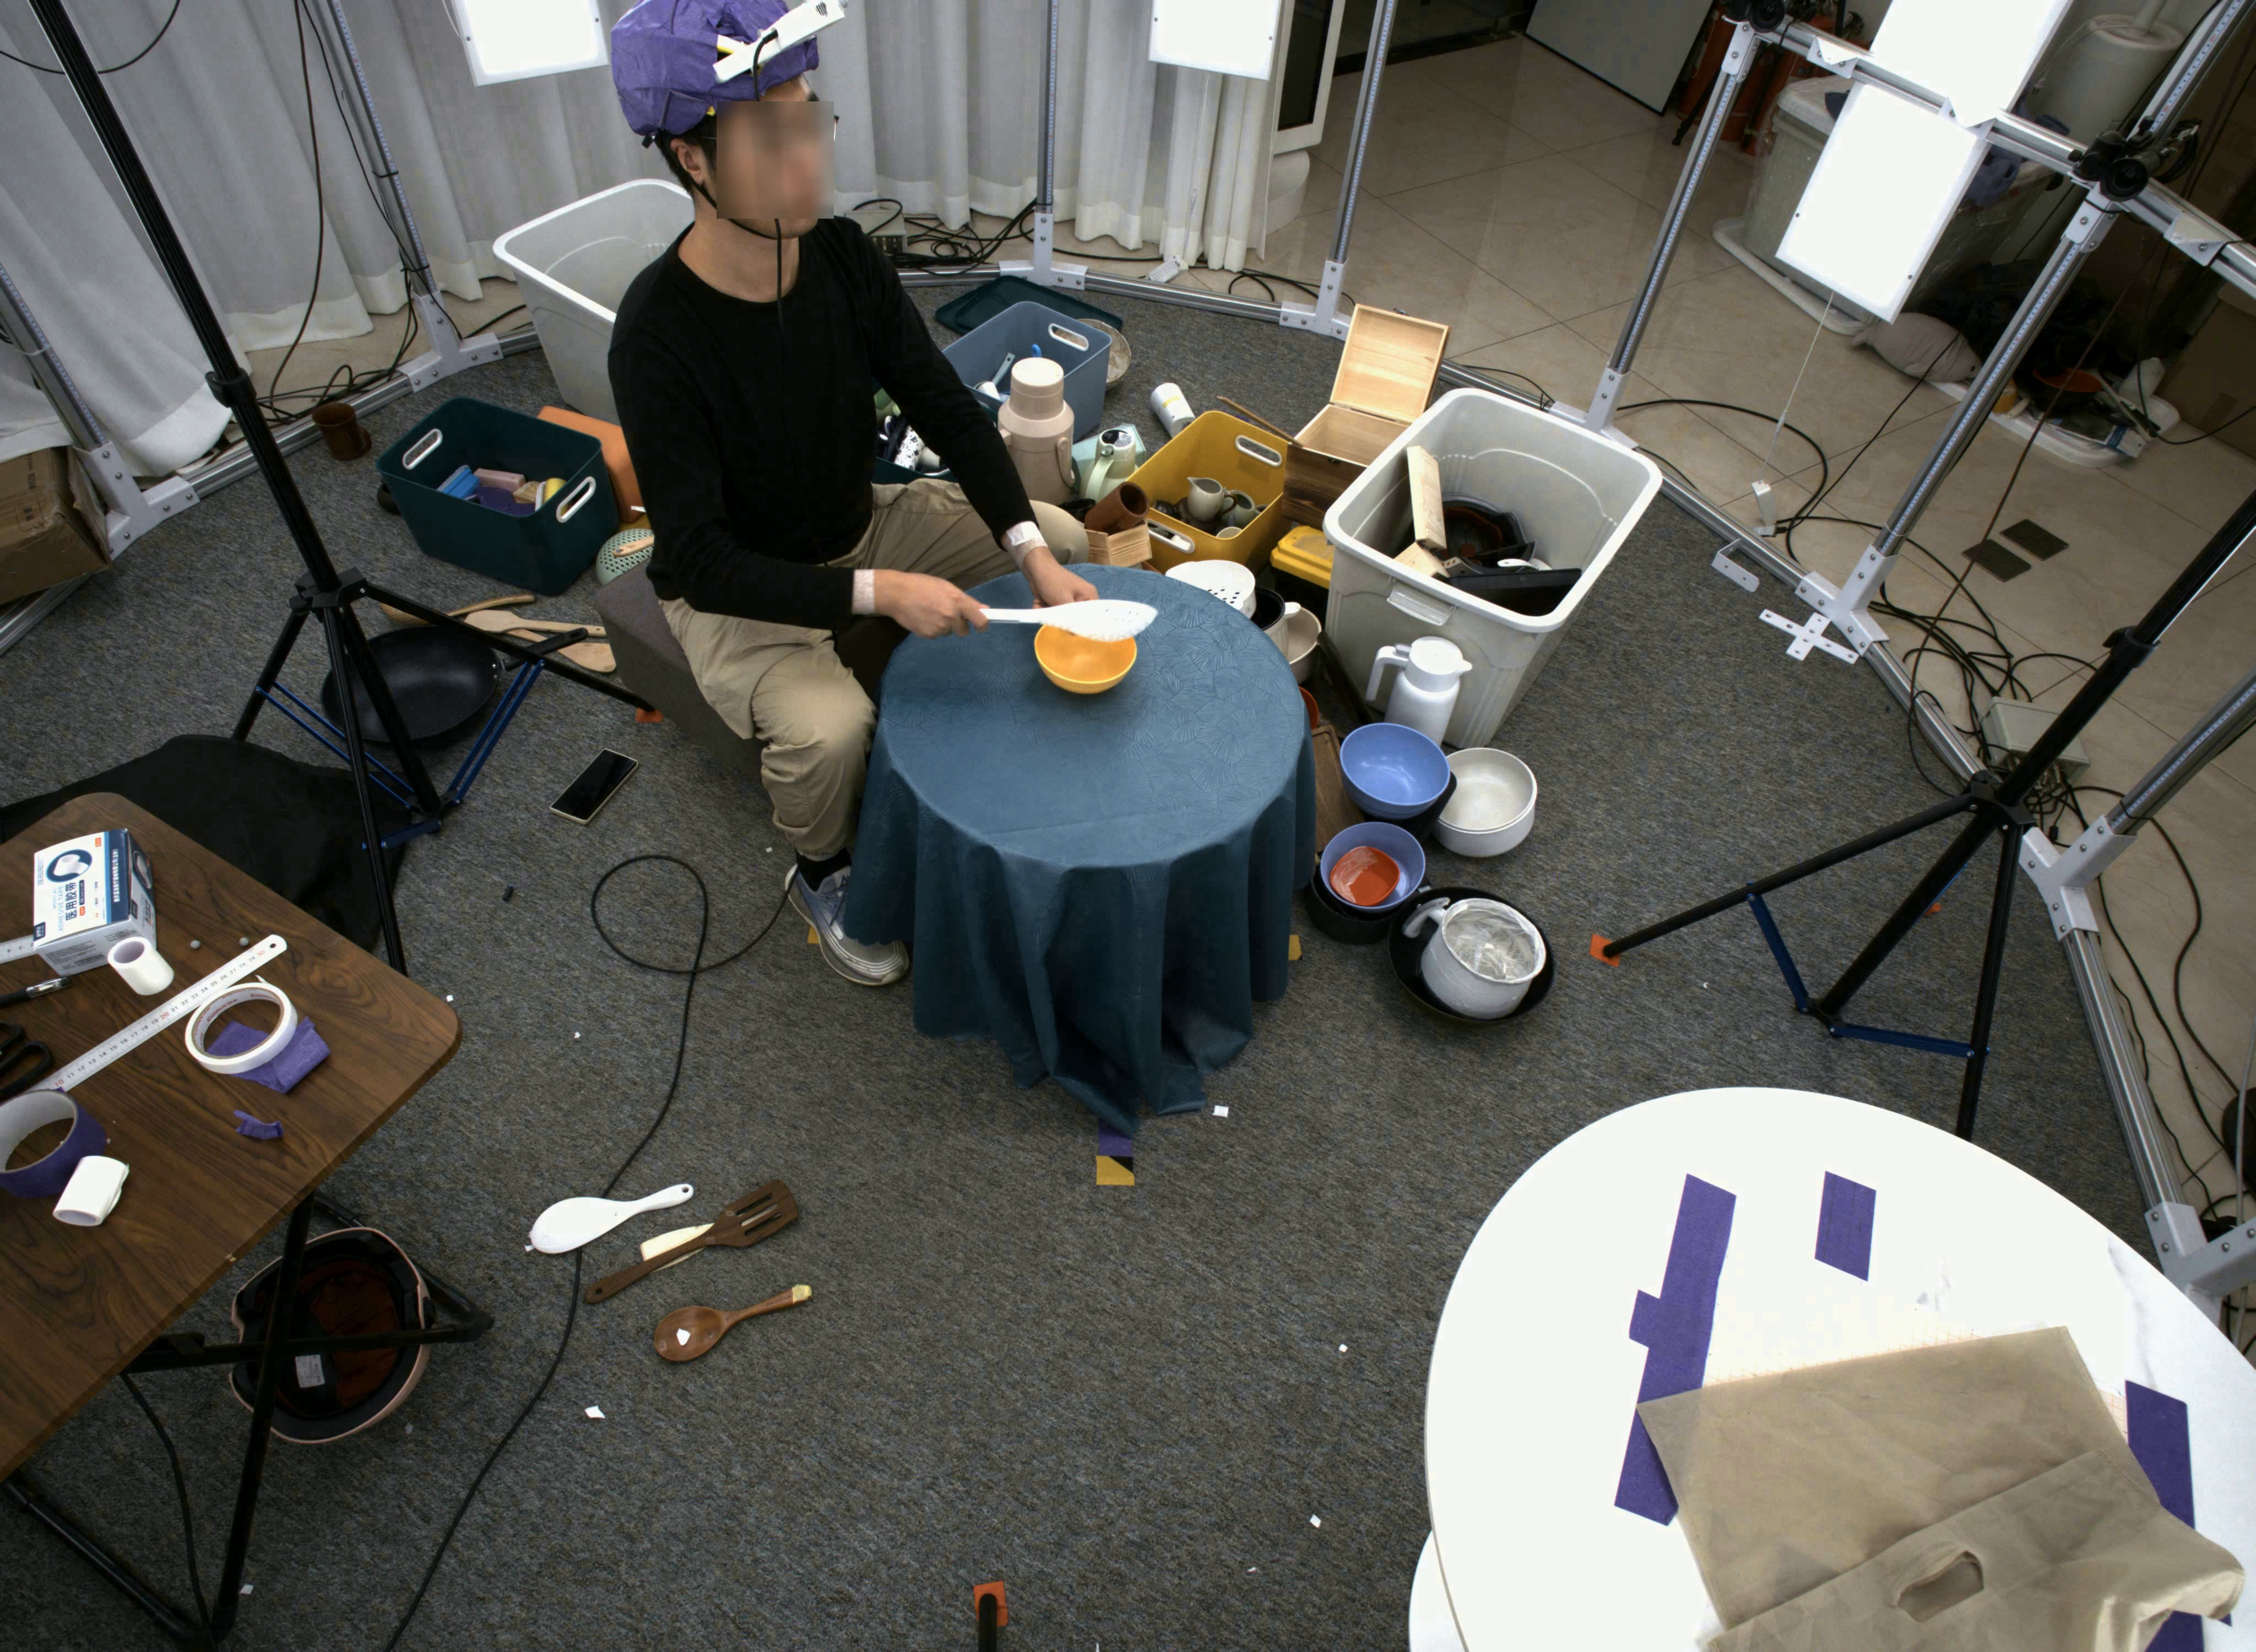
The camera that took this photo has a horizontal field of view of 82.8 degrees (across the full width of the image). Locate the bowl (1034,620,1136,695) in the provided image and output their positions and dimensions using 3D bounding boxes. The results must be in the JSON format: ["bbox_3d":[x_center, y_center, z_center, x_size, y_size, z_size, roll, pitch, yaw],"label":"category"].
[{"bbox_3d":[-0.064,-0.234,1.831,0.145,0.059,0.149,4,49,-5],"label":"bowl"}]

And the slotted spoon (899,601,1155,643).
[{"bbox_3d":[-0.139,-0.288,1.775,0.350,0.135,0.046,6,87,2],"label":"slotted spoon"}]
